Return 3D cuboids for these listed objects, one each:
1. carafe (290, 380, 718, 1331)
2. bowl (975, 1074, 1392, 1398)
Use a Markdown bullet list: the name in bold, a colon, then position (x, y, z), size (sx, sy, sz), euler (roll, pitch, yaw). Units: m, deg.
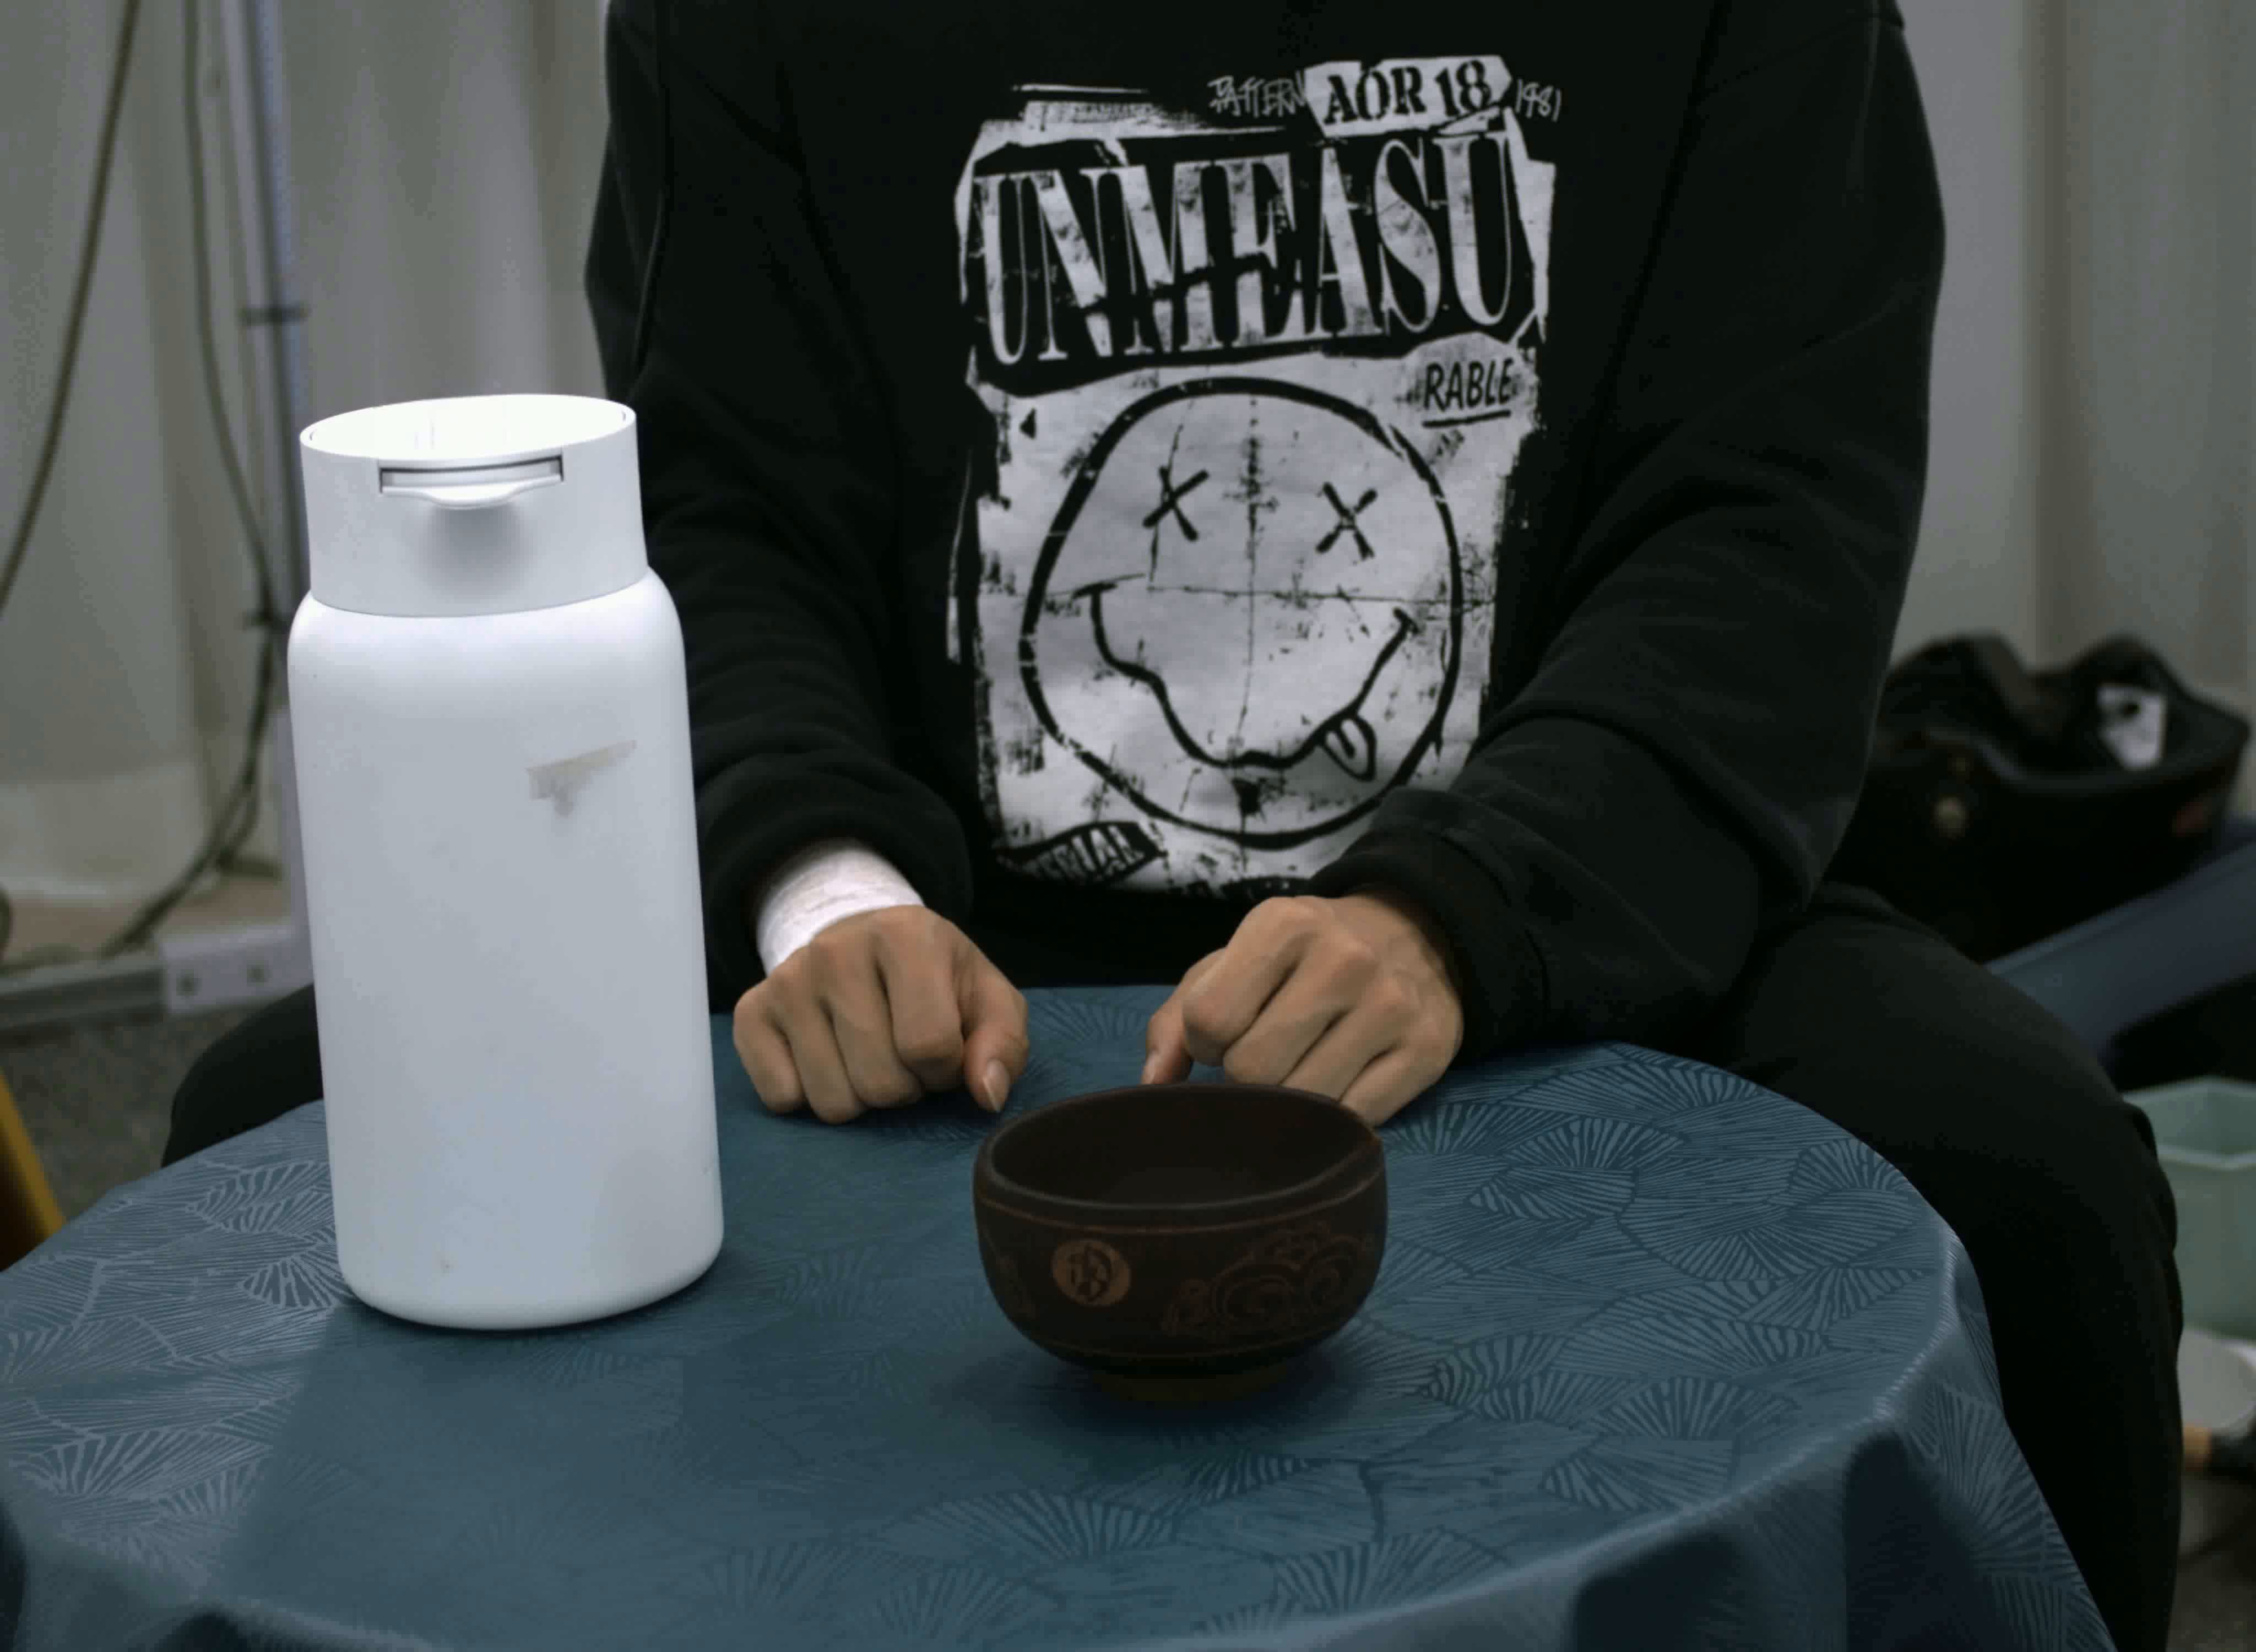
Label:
- **carafe**: position (-0.191, 0.004, 1.651), size (0.123, 0.268, 0.174), euler (-6, 14, -7)
- **bowl**: position (0.017, 0.120, 1.548), size (0.117, 0.069, 0.119), euler (-3, 14, 1)
